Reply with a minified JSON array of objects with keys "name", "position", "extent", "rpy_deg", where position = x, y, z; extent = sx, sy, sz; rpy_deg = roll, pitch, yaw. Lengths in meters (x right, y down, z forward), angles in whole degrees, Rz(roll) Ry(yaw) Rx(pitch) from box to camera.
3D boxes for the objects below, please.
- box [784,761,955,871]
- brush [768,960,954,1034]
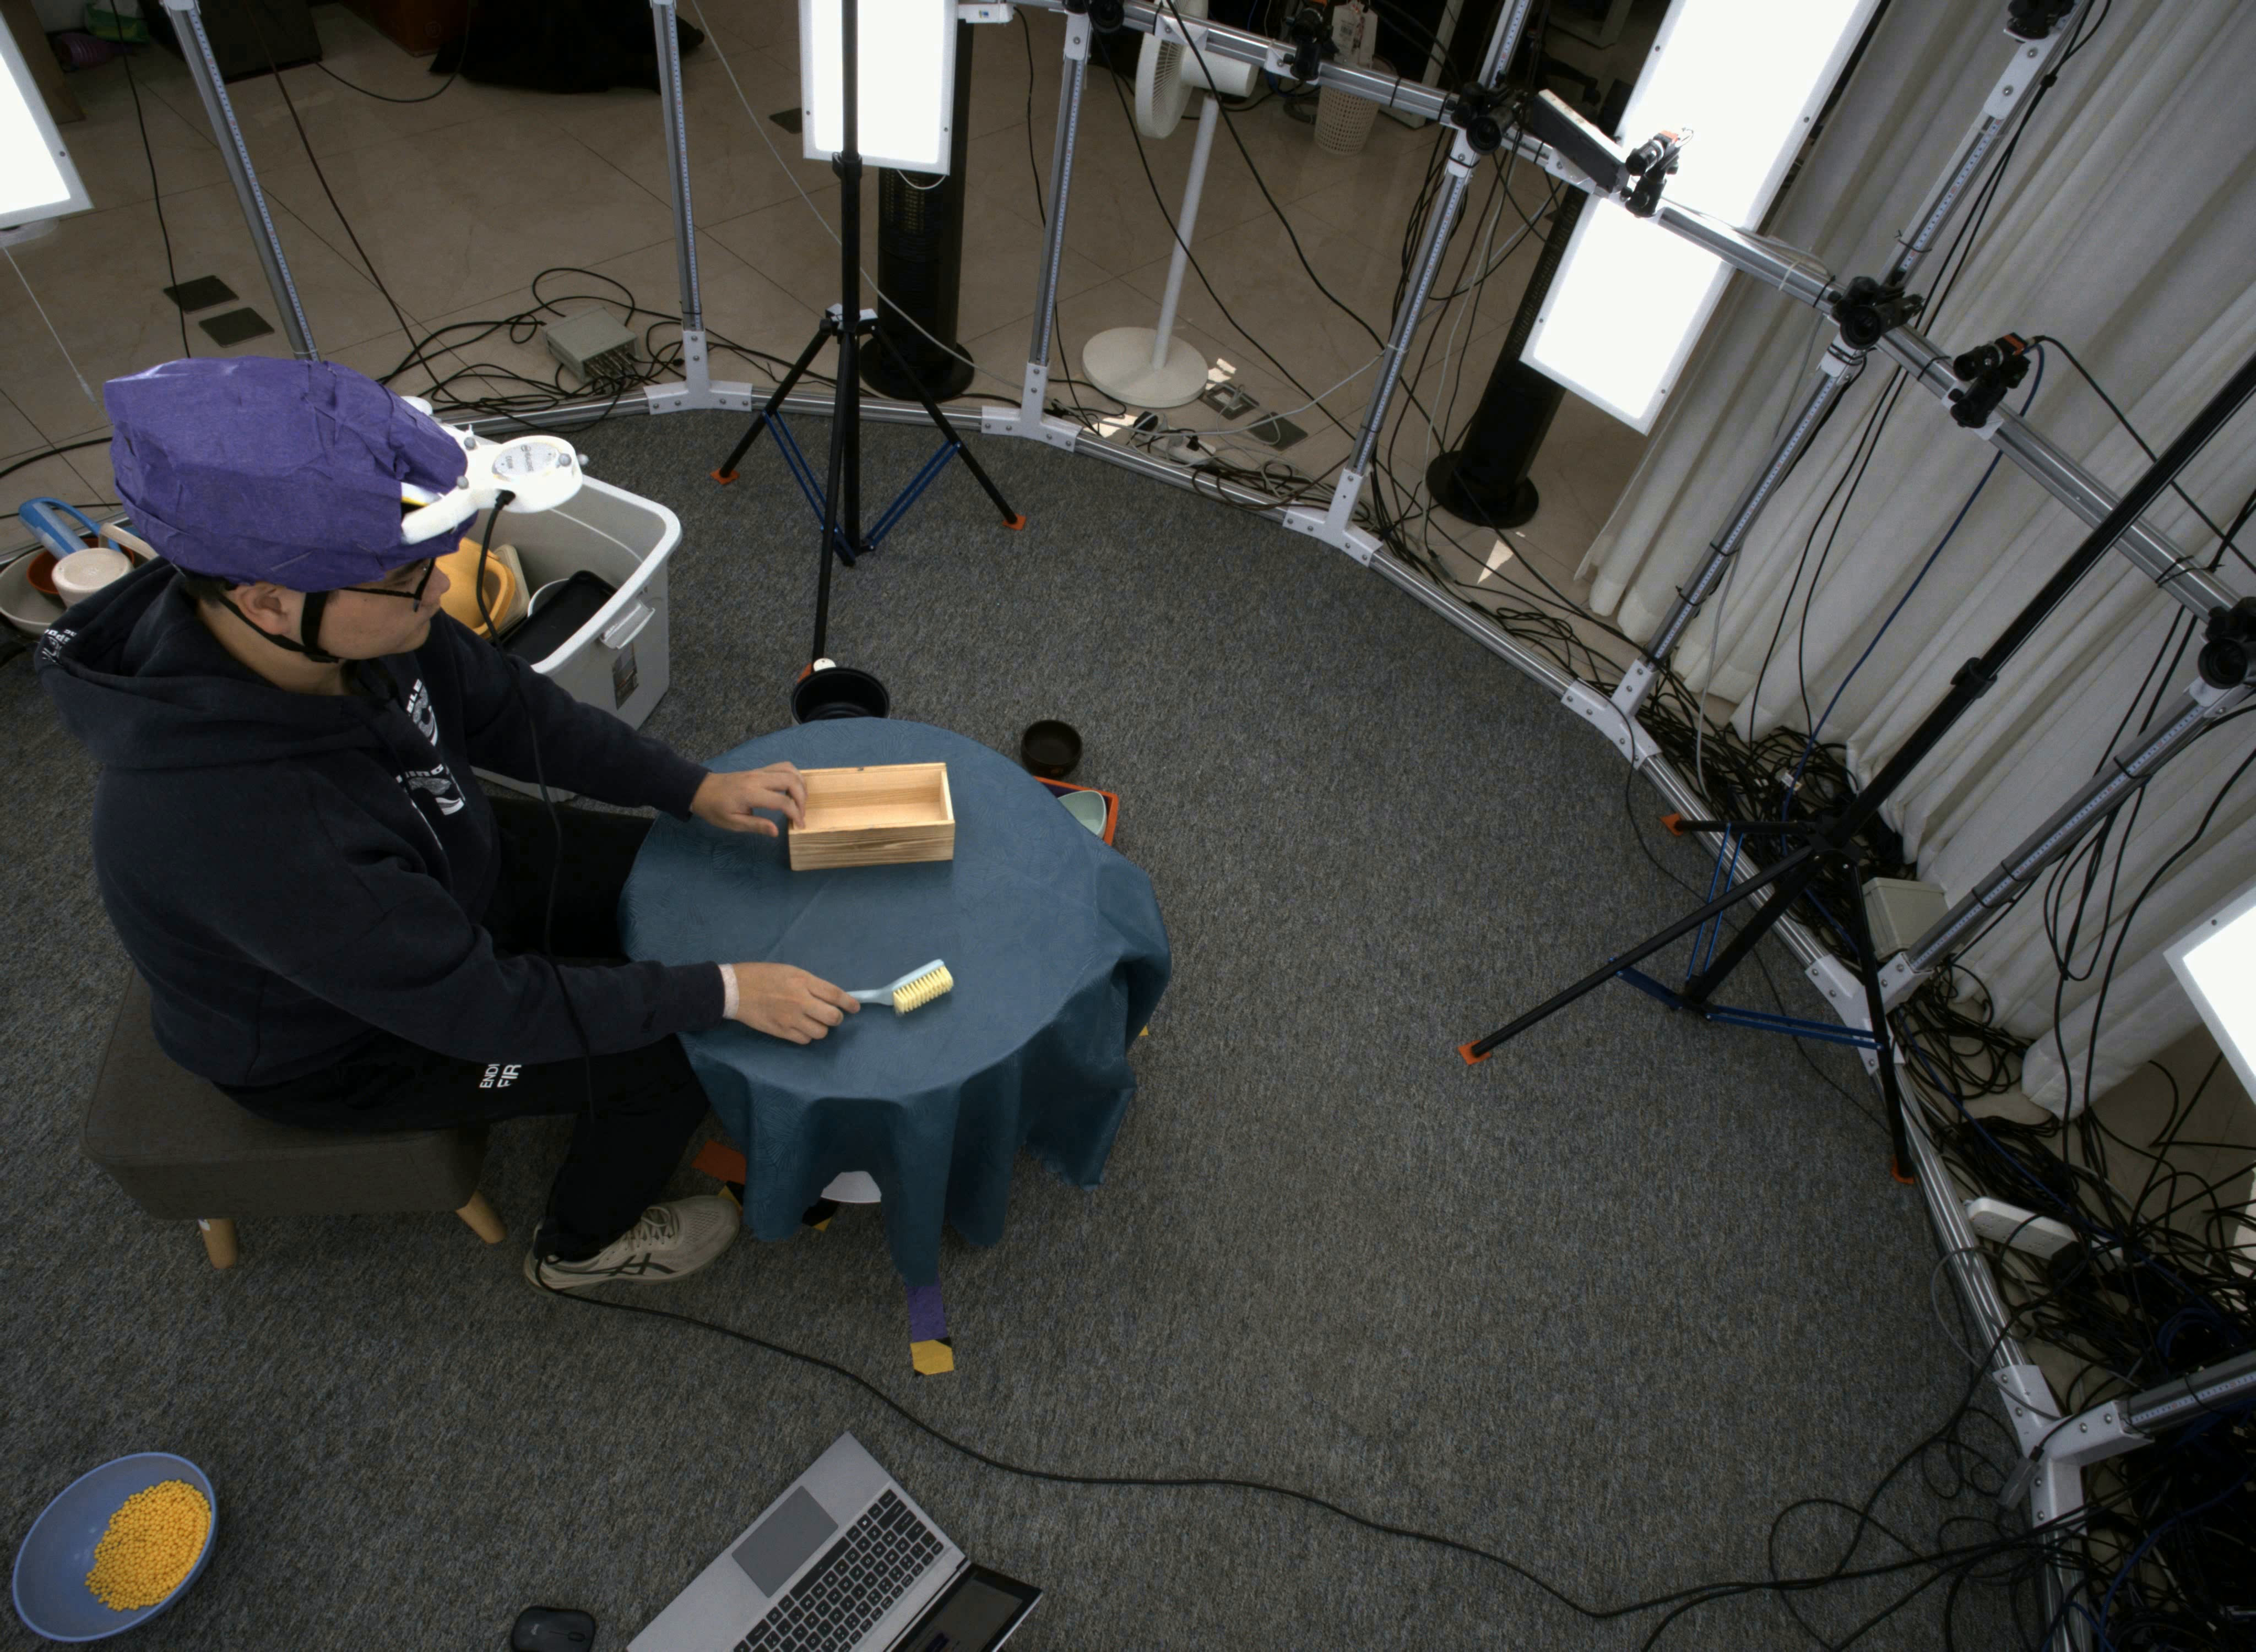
[{"name":"box","position":[-0.338,-0.015,1.701],"extent":[0.212,0.082,0.105],"rpy_deg":[-4,54,-17]},{"name":"brush","position":[-0.319,0.212,1.563],"extent":[0.230,0.038,0.048],"rpy_deg":[-14,59,-22]}]
